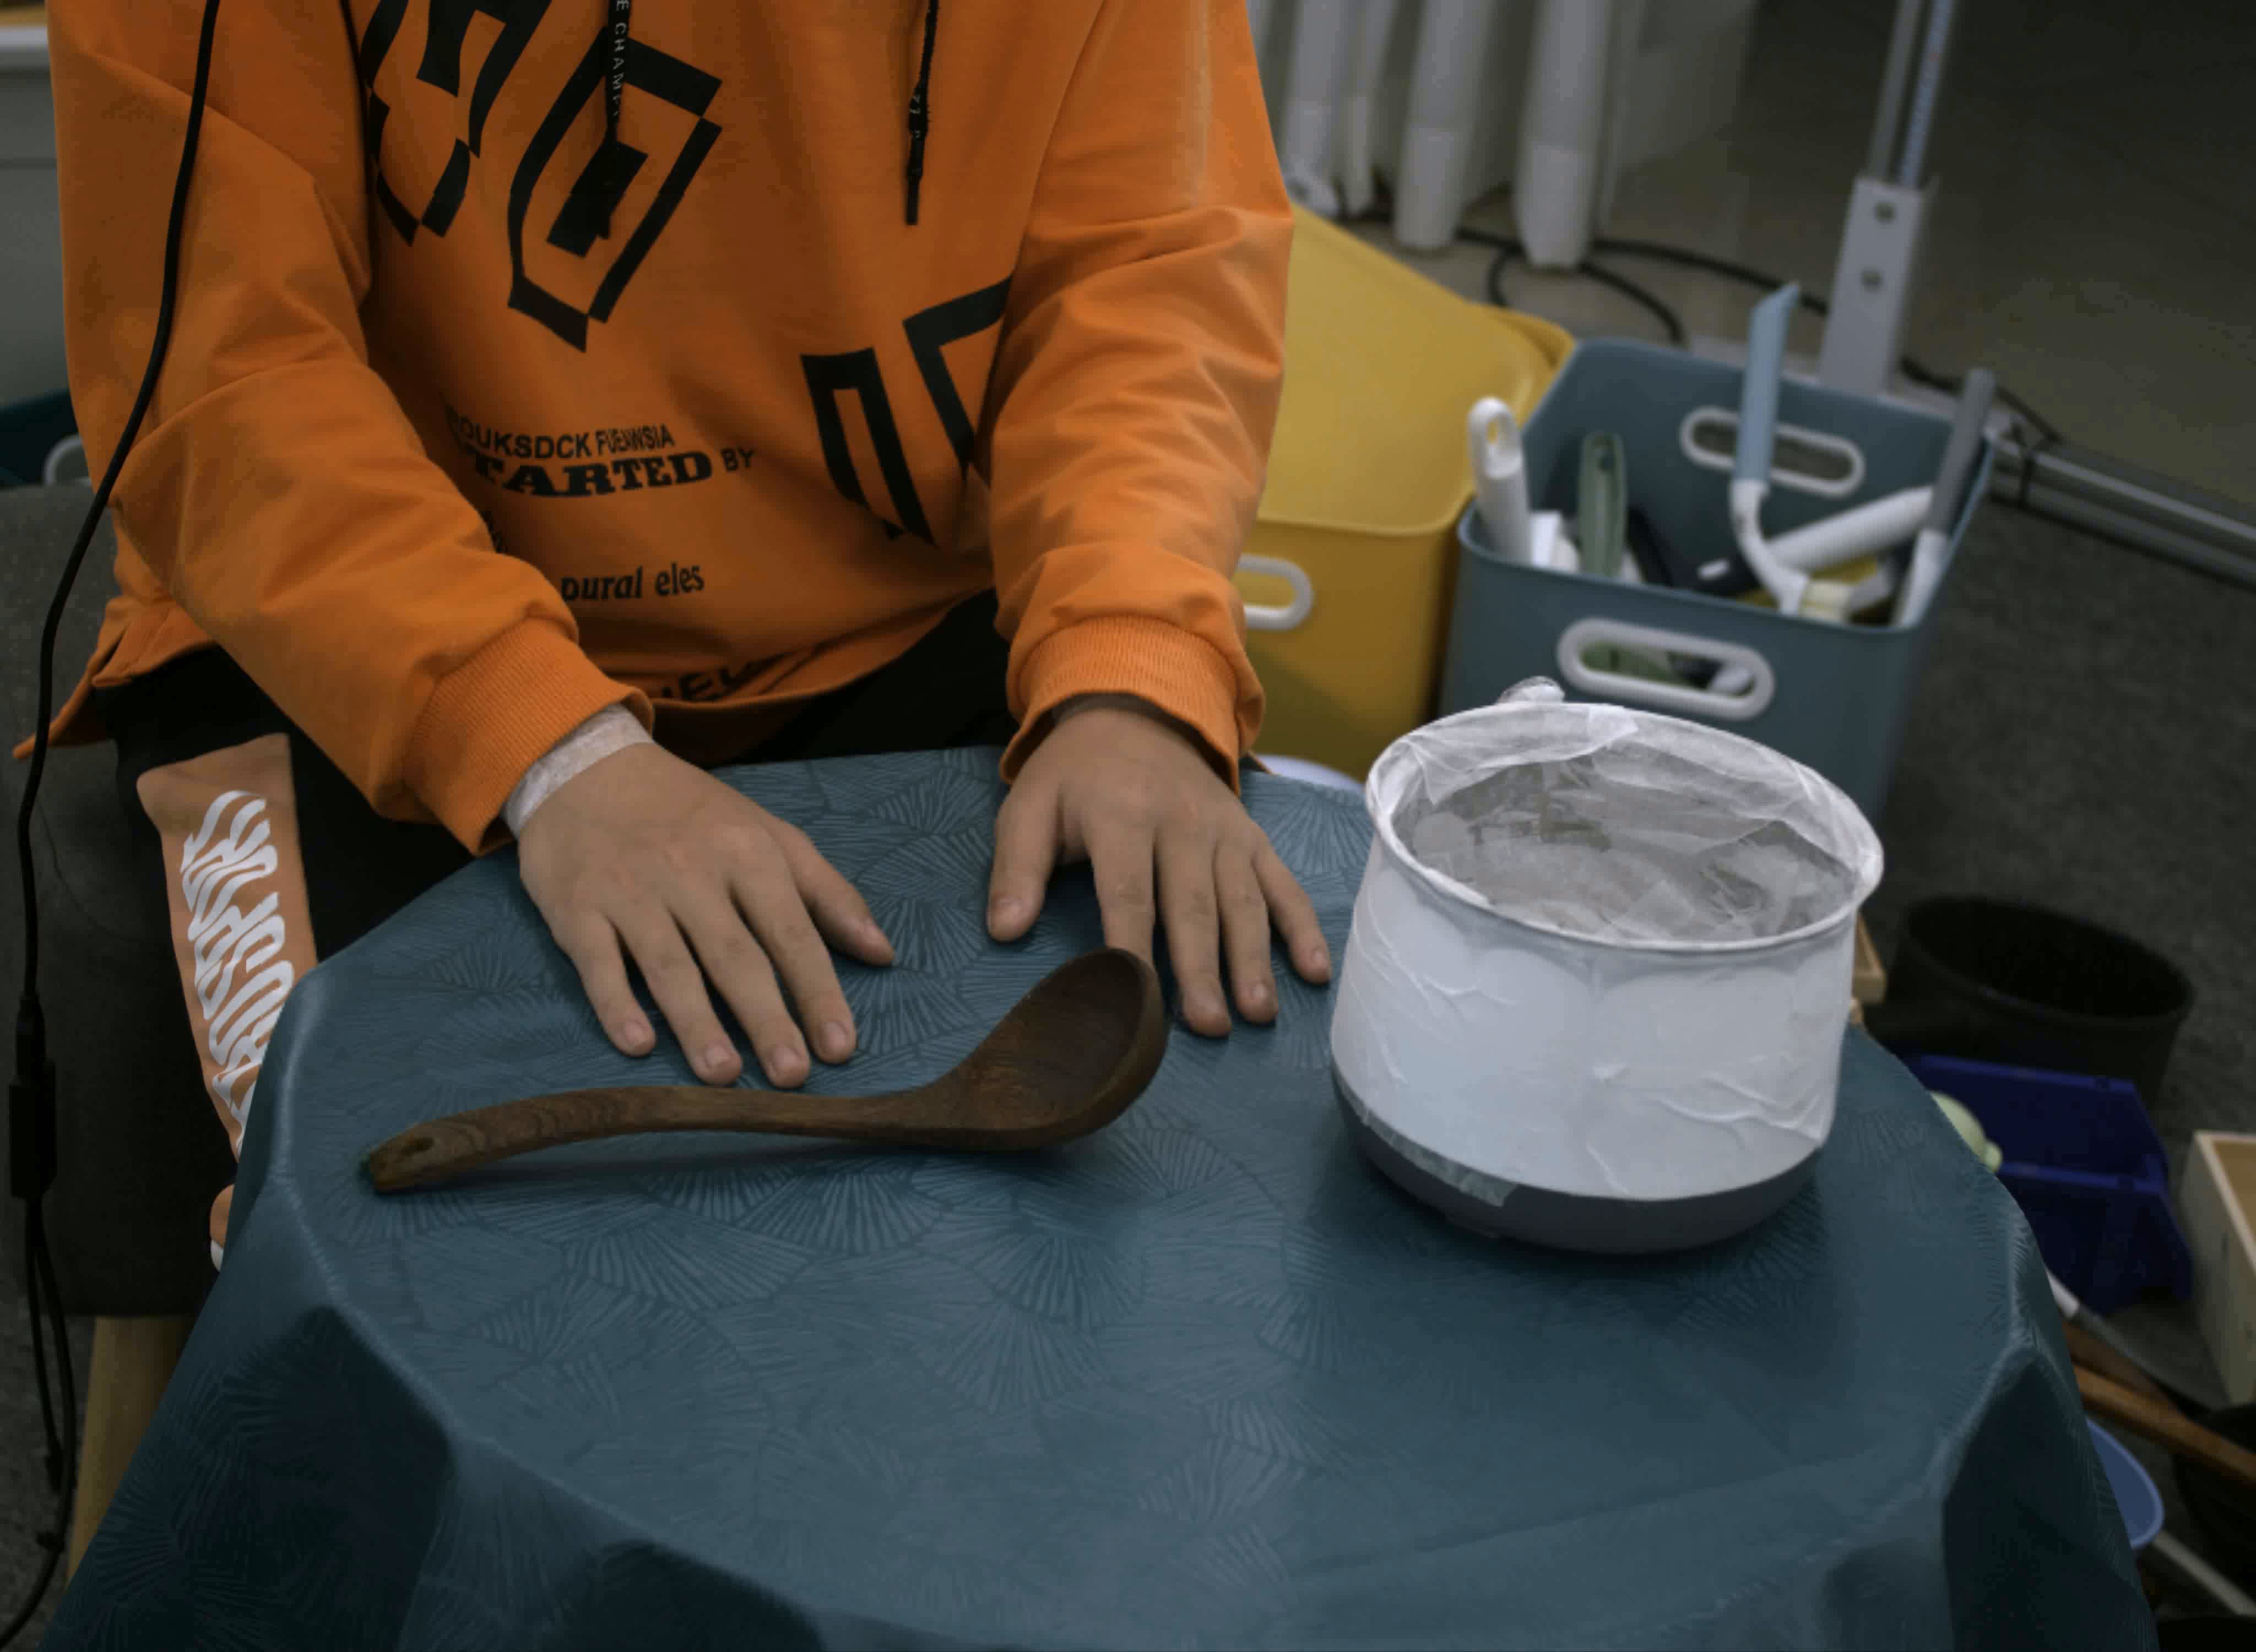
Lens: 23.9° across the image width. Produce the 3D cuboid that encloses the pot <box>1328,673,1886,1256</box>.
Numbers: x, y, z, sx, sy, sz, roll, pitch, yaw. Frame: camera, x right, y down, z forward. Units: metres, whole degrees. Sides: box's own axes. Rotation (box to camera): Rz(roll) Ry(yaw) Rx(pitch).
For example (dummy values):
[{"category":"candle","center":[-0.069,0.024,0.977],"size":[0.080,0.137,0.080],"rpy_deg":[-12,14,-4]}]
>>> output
[{"category":"pot","center":[0.154,0.041,1.848],"size":[0.177,0.136,0.236],"rpy_deg":[-1,28,-16]}]

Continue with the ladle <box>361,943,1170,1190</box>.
[{"category":"ladle","center":[-0.120,0.080,1.784],"size":[0.272,0.071,0.076],"rpy_deg":[-2,25,-18]}]
